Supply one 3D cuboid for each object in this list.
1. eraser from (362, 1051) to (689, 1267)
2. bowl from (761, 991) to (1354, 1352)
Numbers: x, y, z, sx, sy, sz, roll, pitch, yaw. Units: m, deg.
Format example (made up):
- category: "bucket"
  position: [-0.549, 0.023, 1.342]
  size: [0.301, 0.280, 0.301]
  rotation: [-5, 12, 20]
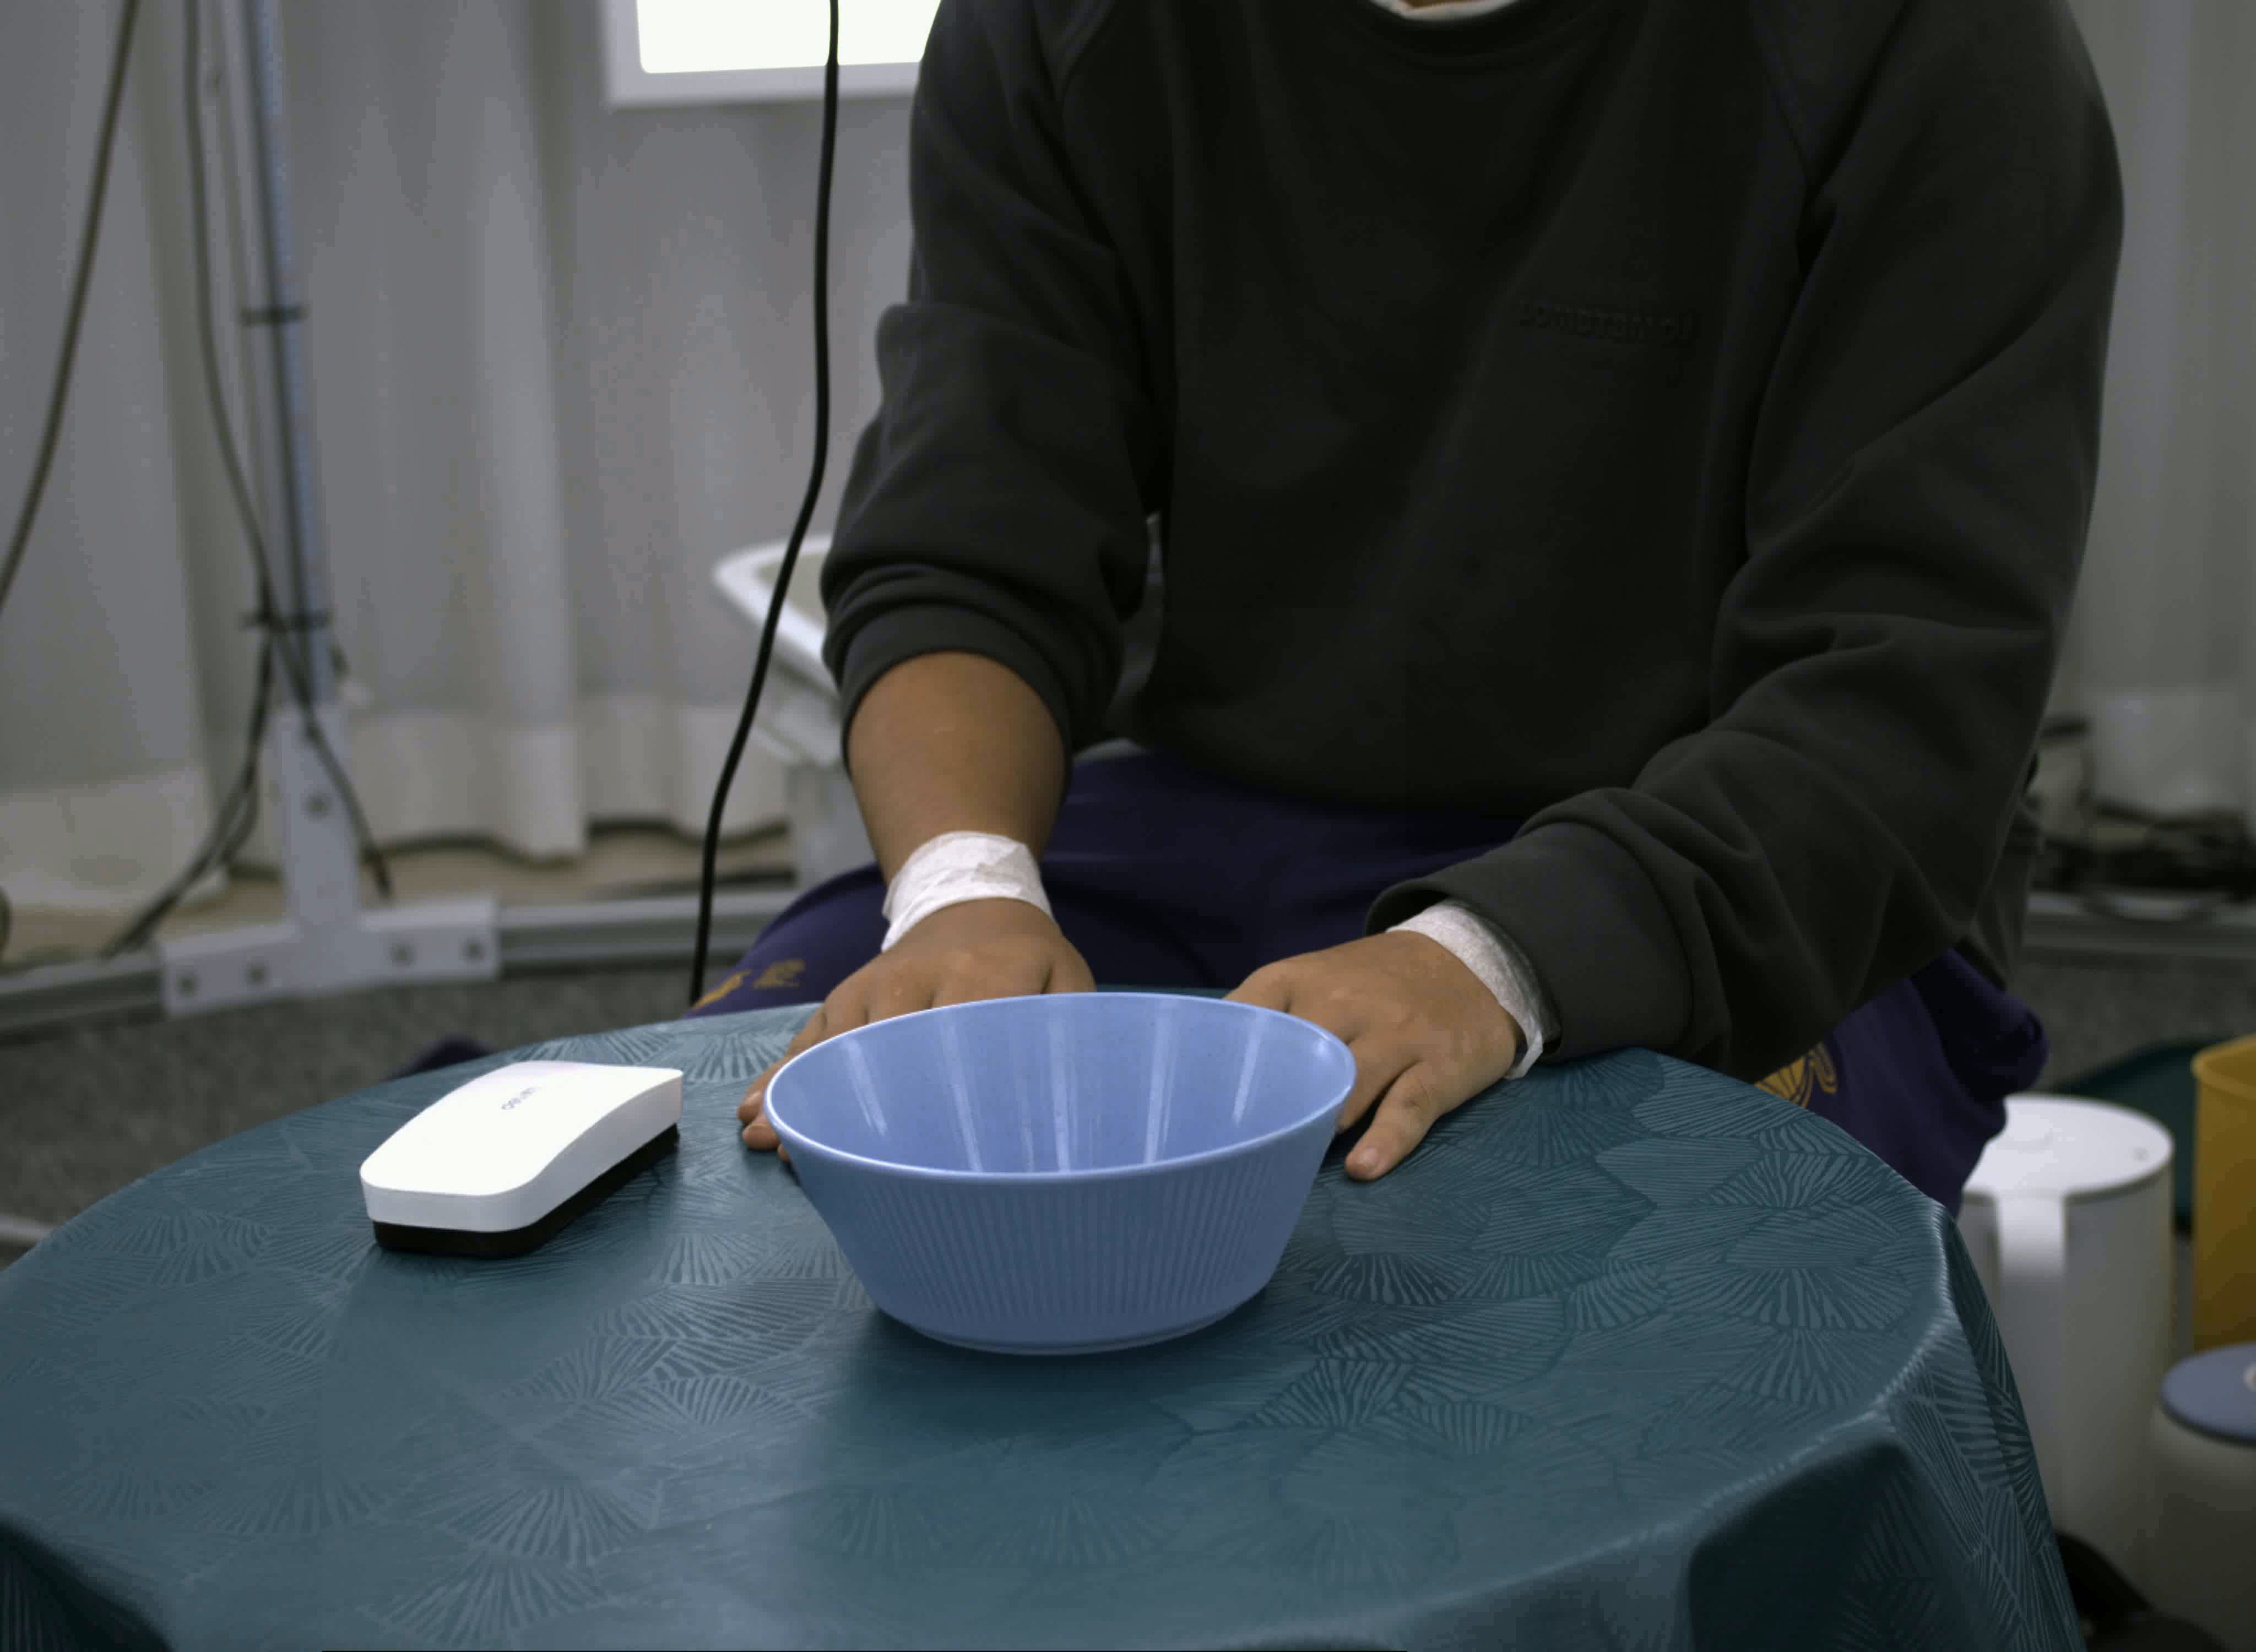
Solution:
- category: "eraser"
  position: [-0.189, 0.102, 1.740]
  size: [0.063, 0.034, 0.132]
  rotation: [4, 18, 22]
- category: "bowl"
  position: [-0.020, 0.105, 1.619]
  size: [0.175, 0.070, 0.177]
  rotation: [-2, 15, 0]
